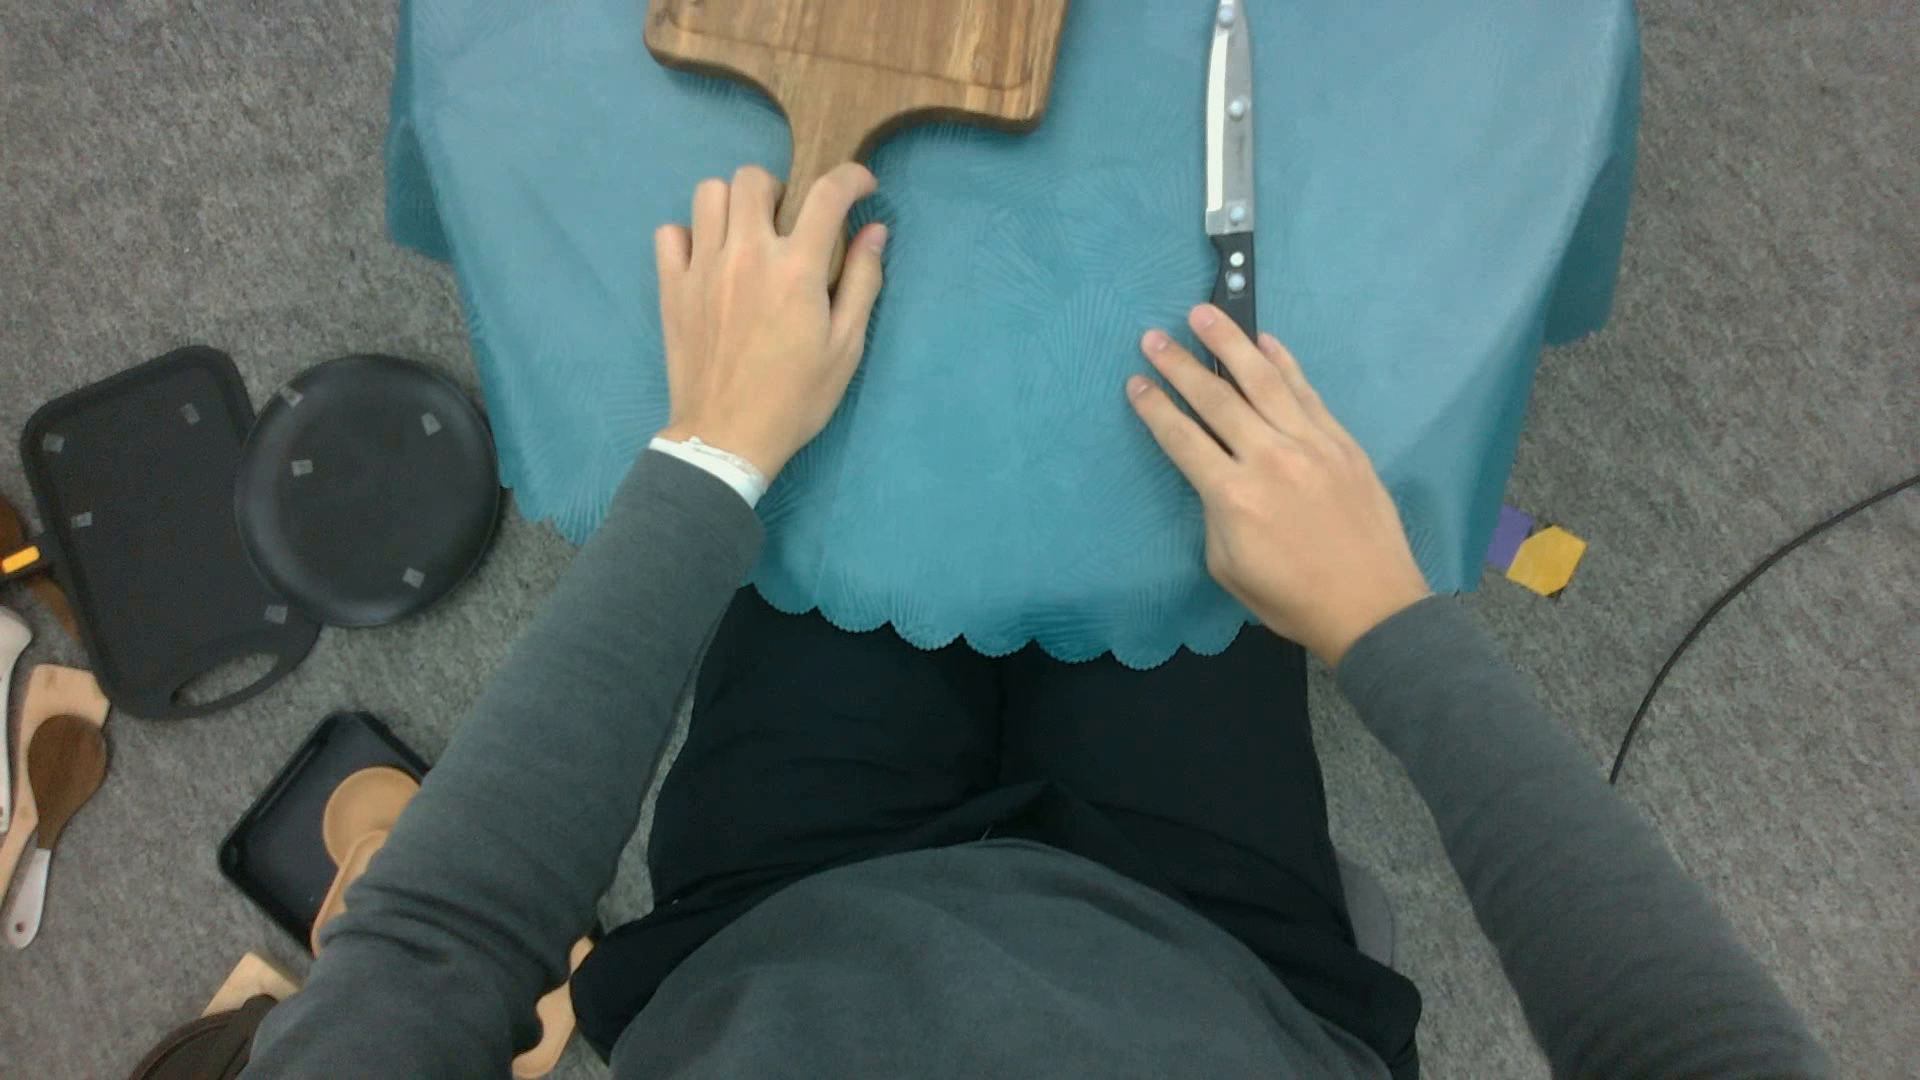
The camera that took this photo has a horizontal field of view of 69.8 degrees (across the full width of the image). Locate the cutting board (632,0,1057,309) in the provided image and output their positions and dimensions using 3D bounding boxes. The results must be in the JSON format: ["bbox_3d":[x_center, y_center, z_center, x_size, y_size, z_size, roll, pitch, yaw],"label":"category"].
[{"bbox_3d":[-0.050,-0.285,0.670,0.201,0.023,0.352,11,85,4],"label":"cutting board"}]

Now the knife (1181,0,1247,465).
[{"bbox_3d":[0.123,-0.155,0.661,0.024,0.016,0.238,-3,86,7],"label":"knife"}]
